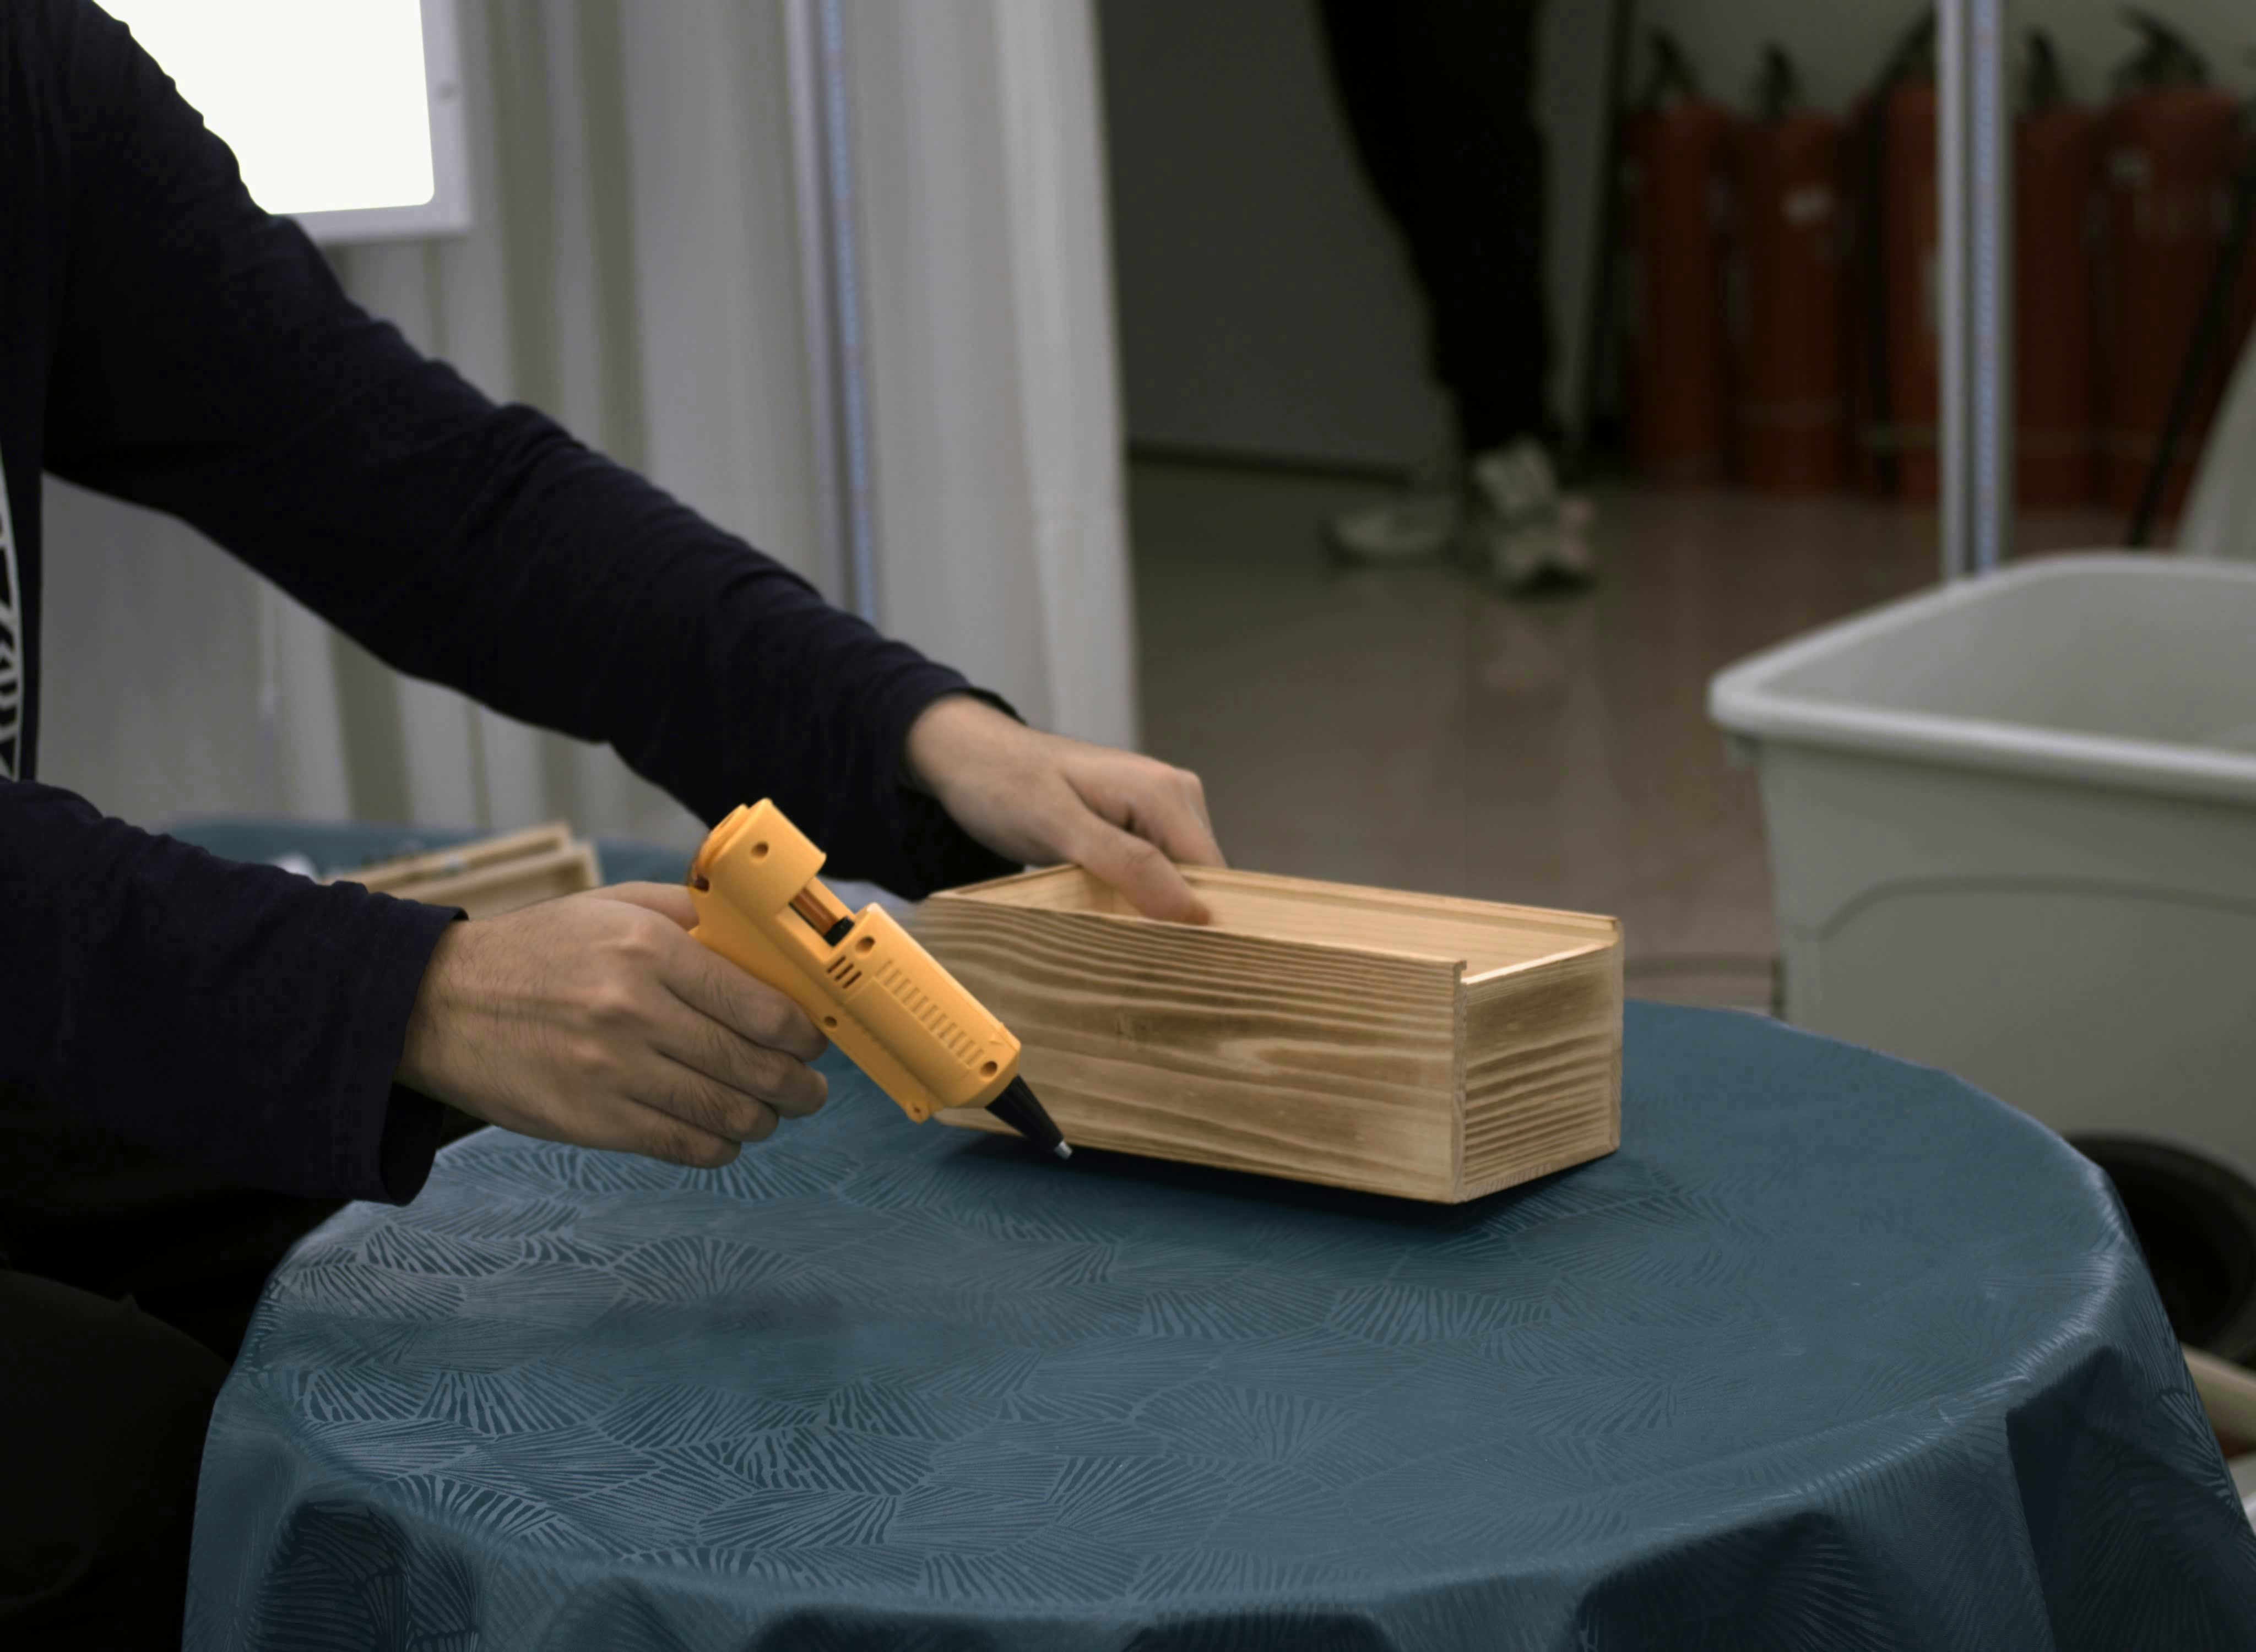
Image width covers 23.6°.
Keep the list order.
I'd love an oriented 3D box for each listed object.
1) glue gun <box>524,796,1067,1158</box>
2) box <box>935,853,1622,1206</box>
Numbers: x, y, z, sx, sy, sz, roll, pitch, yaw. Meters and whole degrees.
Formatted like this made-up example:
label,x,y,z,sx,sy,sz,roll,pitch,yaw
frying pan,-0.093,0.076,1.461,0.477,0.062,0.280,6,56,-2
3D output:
label,x,y,z,sx,sy,sz,roll,pitch,yaw
glue gun,-0.098,0.079,1.693,0.150,0.134,0.031,40,32,-5
box,0.048,0.065,1.800,0.213,0.081,0.105,7,11,37
